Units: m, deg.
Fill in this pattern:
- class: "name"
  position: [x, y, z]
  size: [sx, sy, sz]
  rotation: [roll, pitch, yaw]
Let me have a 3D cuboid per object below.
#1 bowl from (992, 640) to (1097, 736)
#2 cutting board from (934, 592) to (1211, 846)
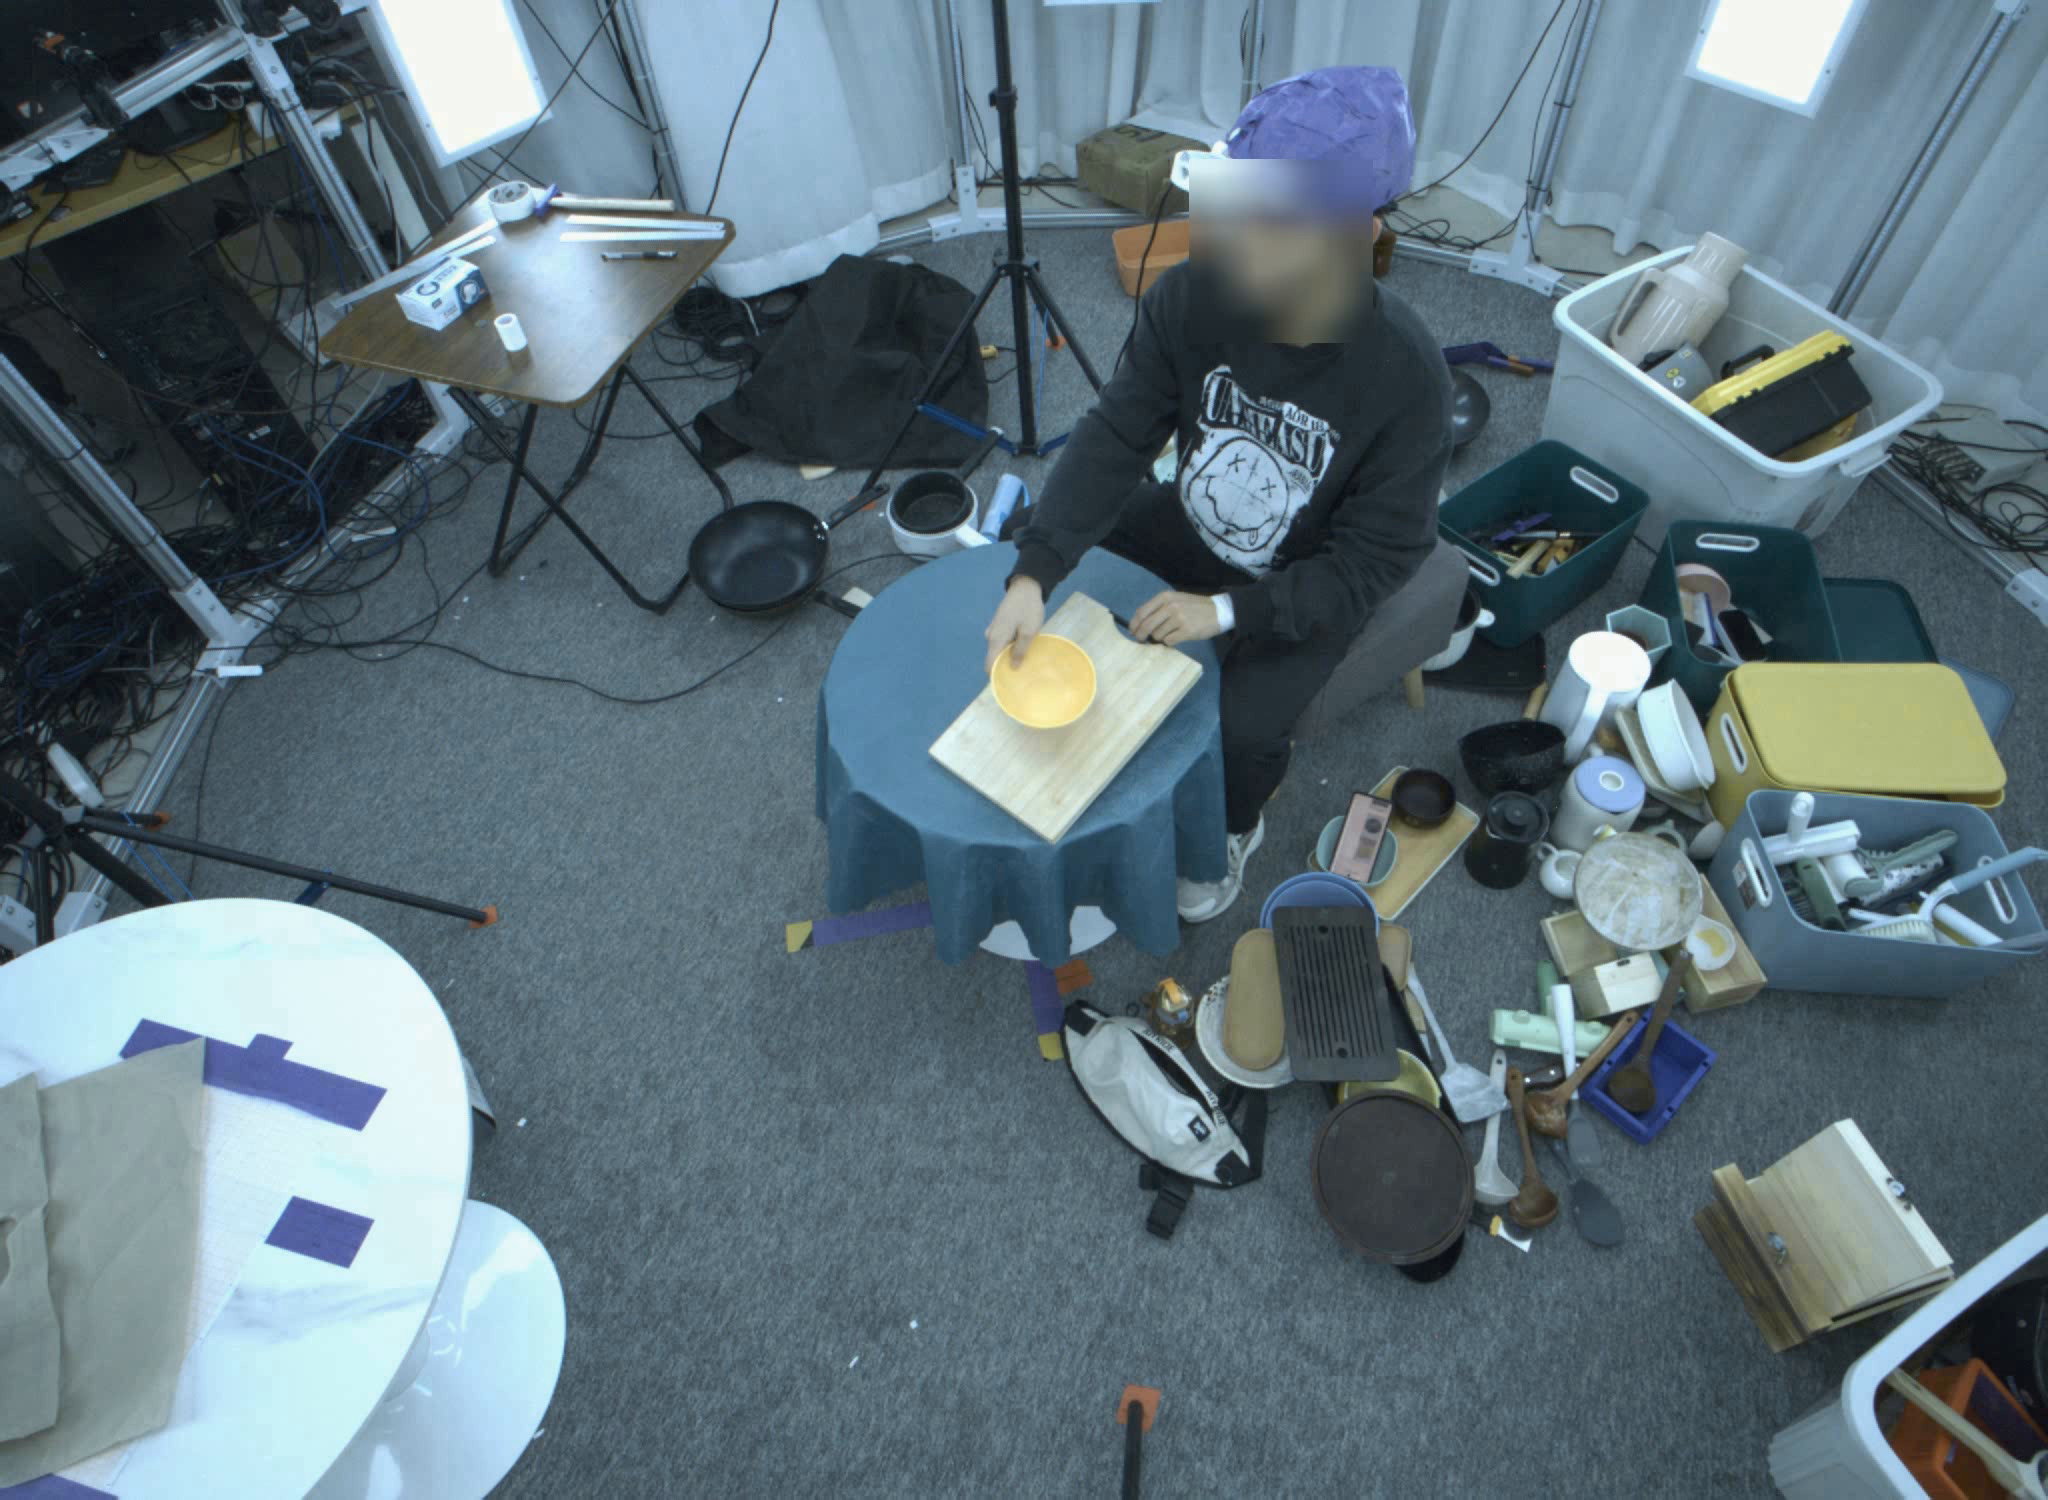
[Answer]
- class: "bowl"
  position: [0.026, -0.076, 1.711]
  size: [0.146, 0.060, 0.144]
  rotation: [4, 67, -7]
- class: "cutting board"
  position: [0.068, -0.054, 1.785]
  size: [0.246, 0.024, 0.349]
  rotation: [34, 73, 23]
